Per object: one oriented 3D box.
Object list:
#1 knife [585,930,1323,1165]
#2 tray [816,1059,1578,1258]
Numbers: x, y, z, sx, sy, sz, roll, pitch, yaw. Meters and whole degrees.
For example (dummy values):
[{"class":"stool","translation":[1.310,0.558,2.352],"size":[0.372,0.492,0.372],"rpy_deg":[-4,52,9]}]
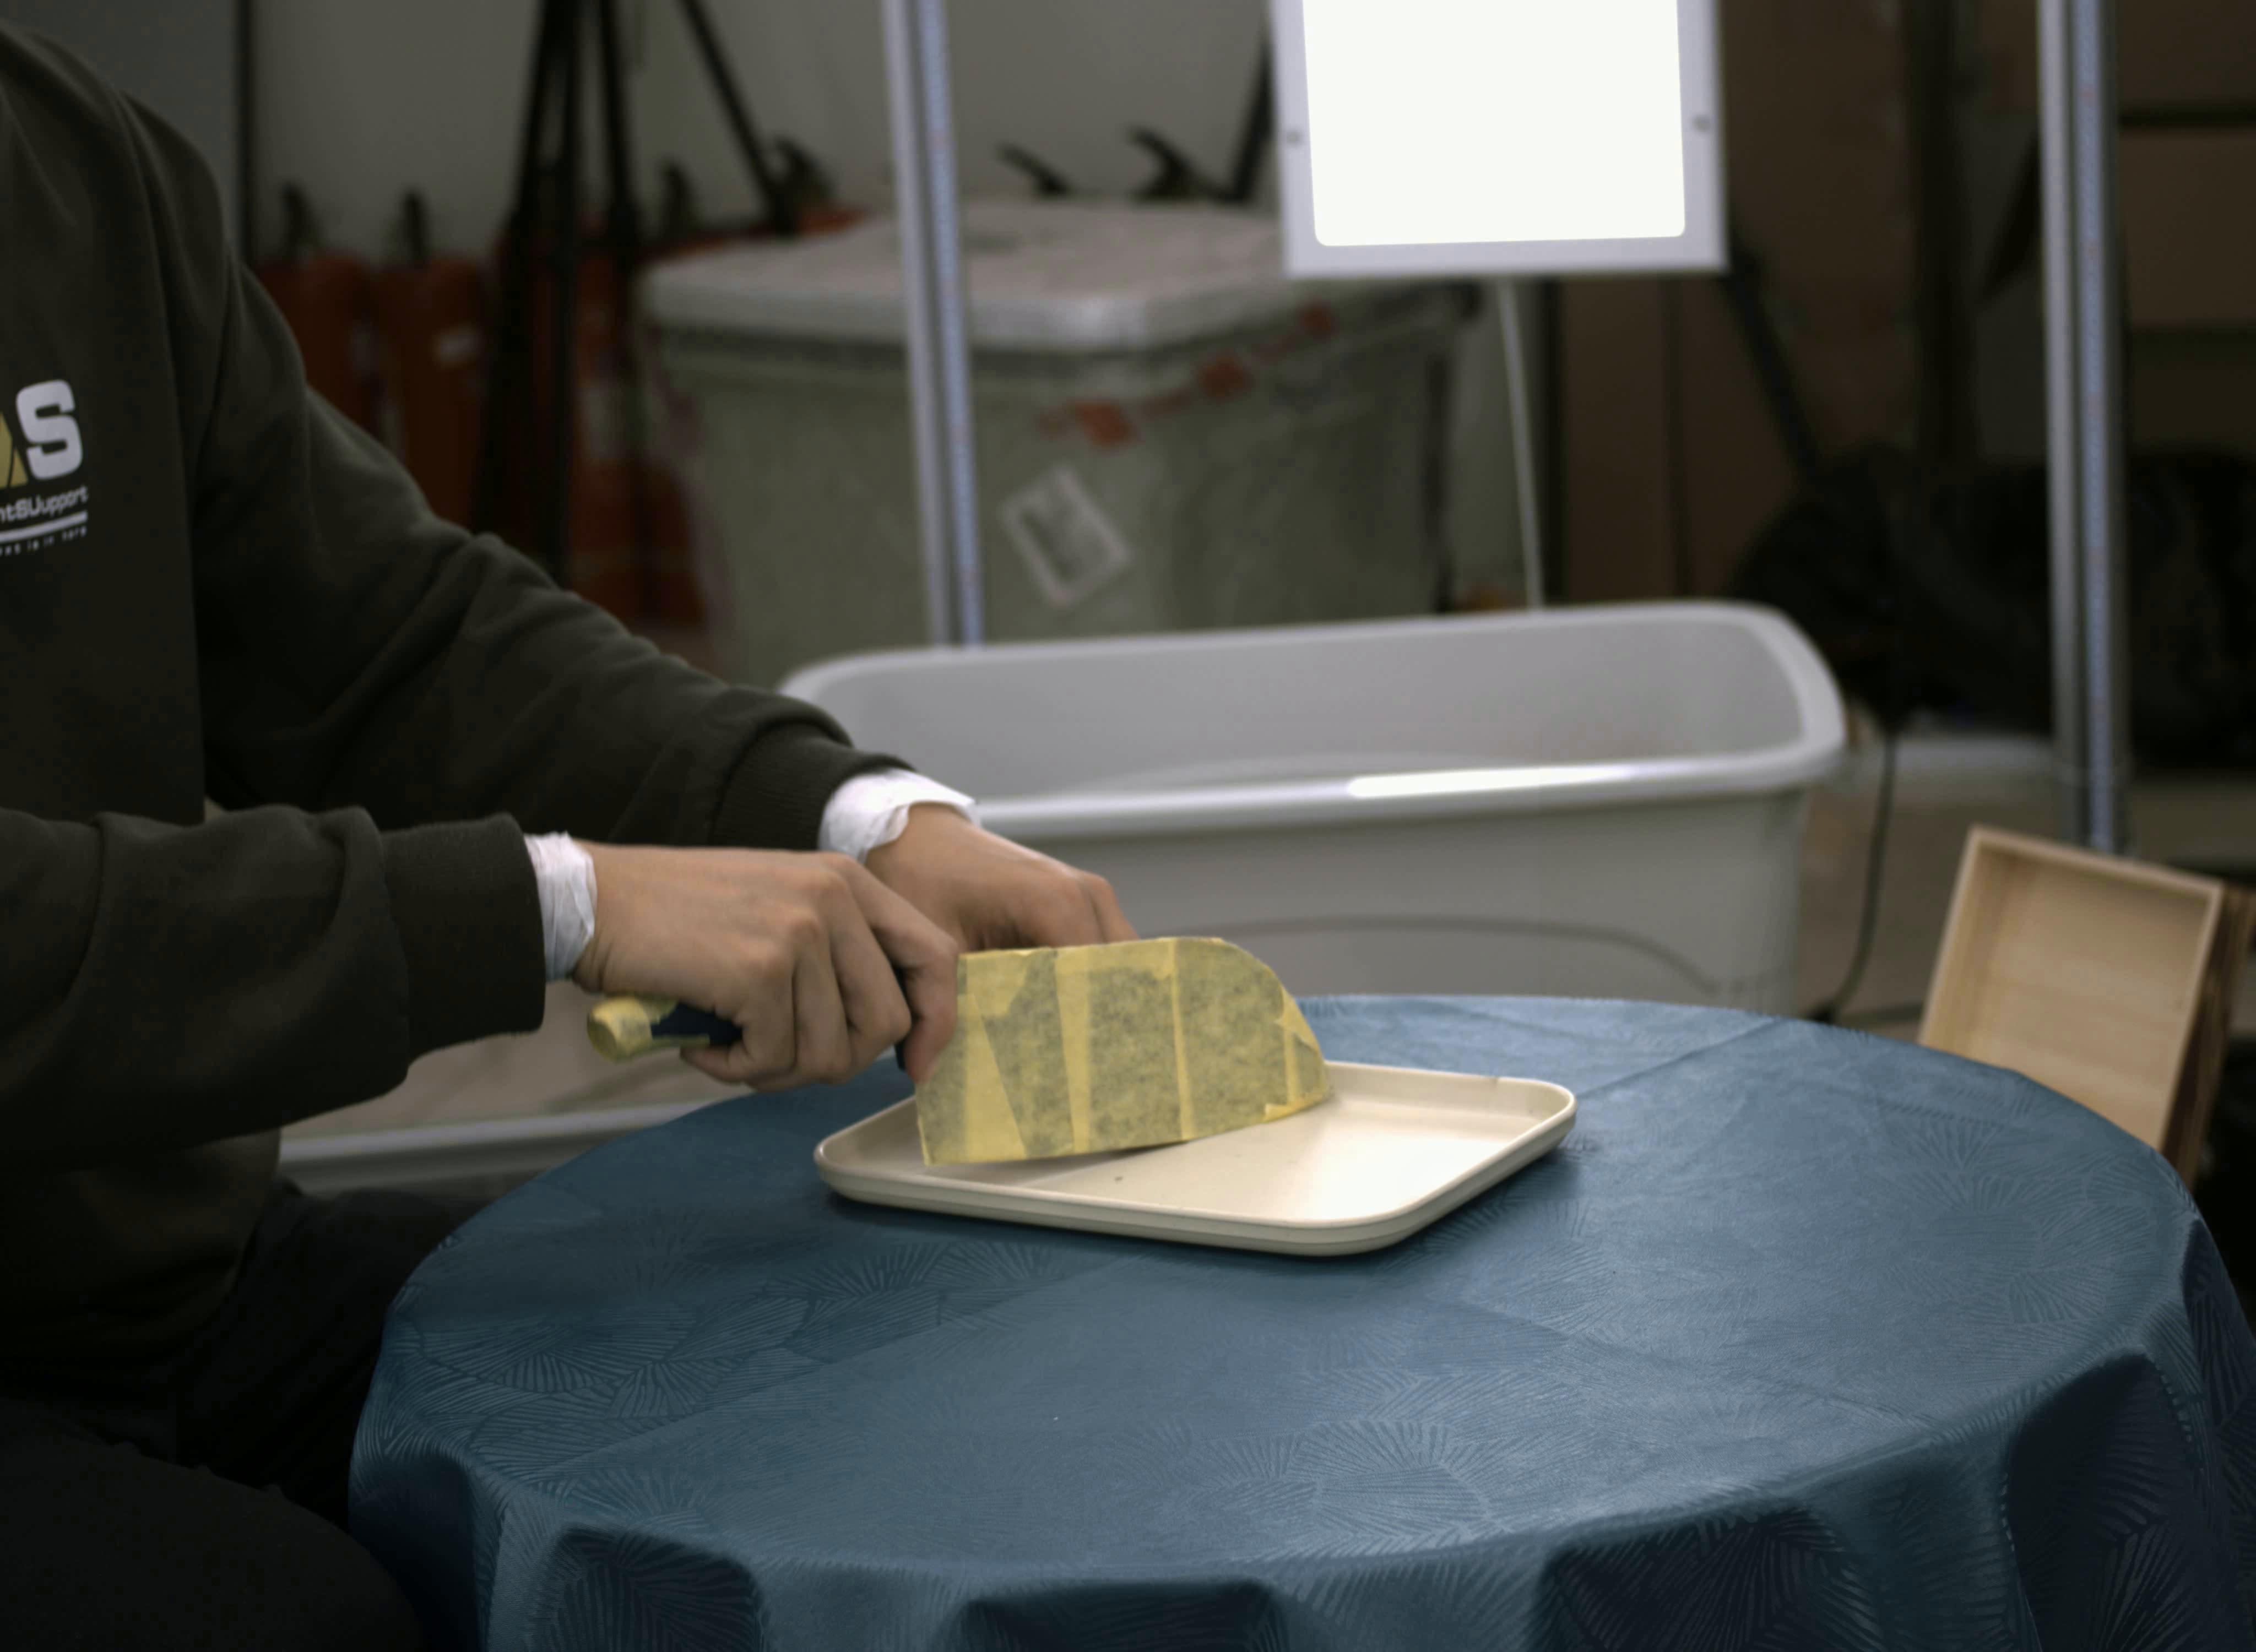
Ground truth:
[{"class":"knife","translation":[-0.054,0.077,1.908],"size":[0.283,0.081,0.028],"rpy_deg":[0,-7,-27]},{"class":"tray","translation":[0.024,0.112,1.919],"size":[0.244,0.017,0.167],"rpy_deg":[4,17,33]}]
